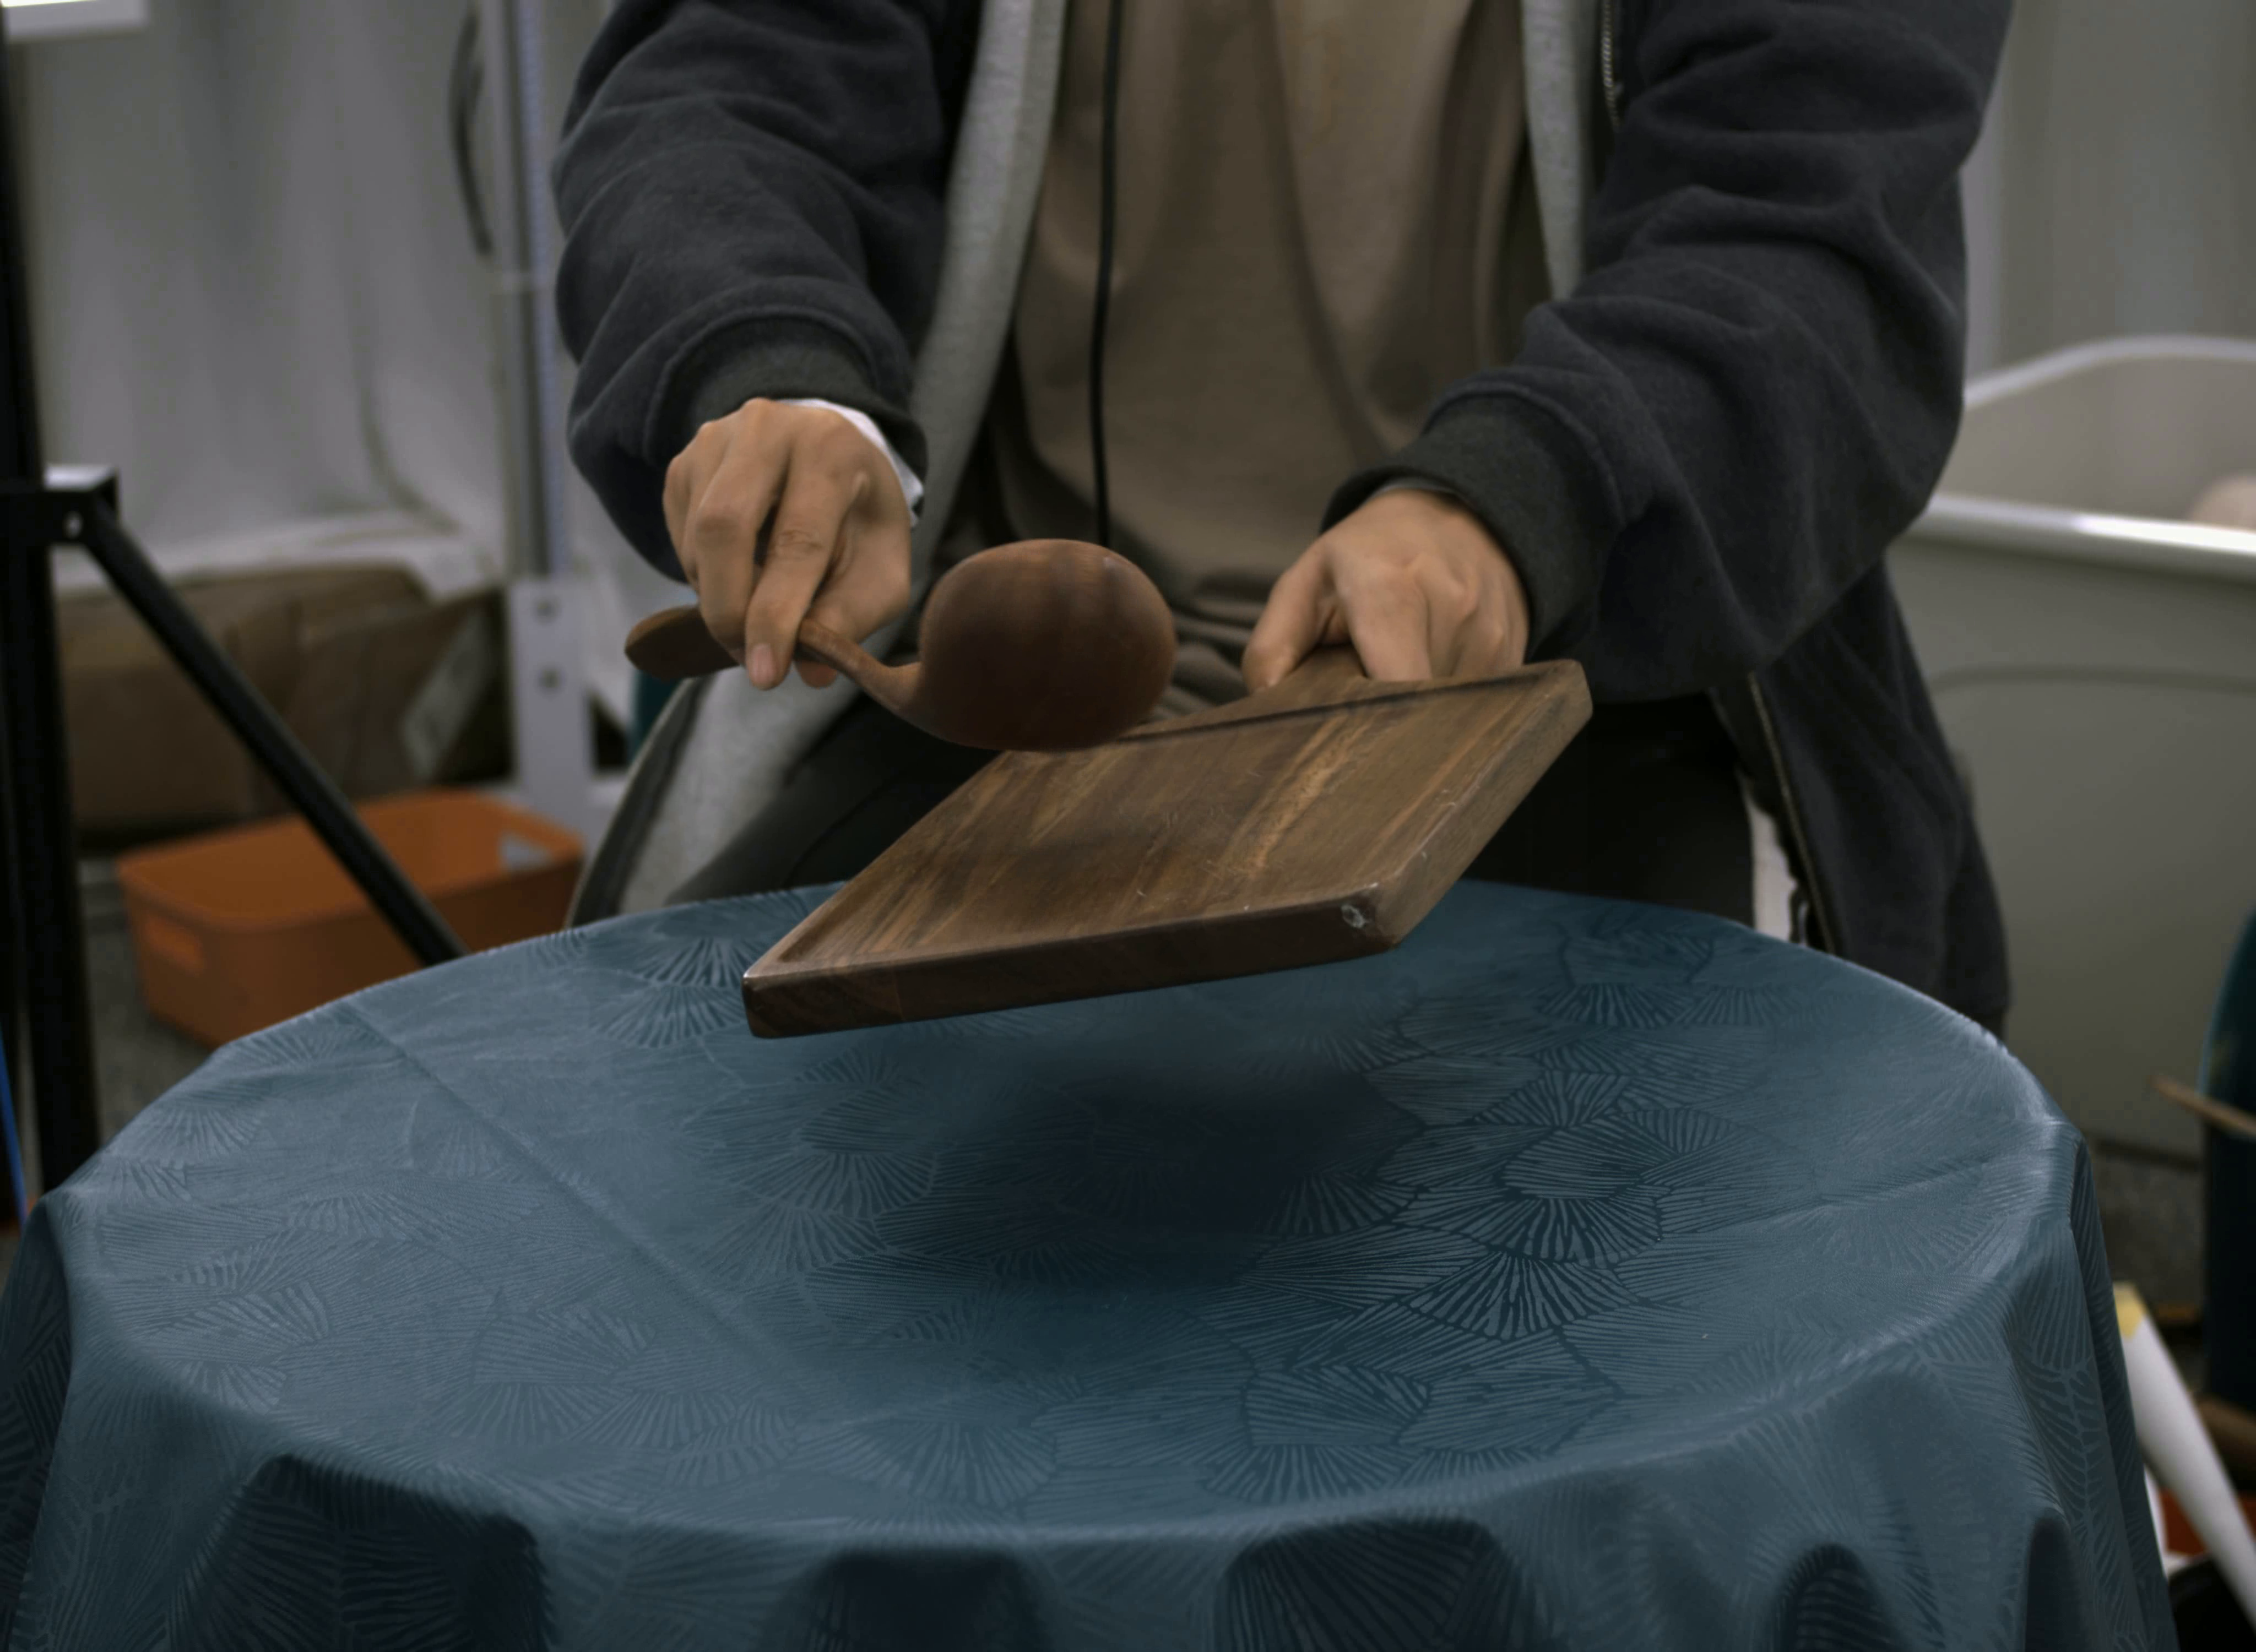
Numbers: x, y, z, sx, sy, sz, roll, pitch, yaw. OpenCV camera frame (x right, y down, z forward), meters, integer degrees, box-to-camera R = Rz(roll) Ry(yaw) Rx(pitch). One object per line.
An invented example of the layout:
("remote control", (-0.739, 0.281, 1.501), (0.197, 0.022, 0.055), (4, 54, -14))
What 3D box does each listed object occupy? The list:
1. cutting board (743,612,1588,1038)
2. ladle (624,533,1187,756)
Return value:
("cutting board", (0.031, -0.011, 1.602), (0.203, 0.023, 0.349), (-8, 14, 20))
("ladle", (-0.074, -0.062, 1.641), (0.065, 0.075, 0.266), (-52, 29, -15))
